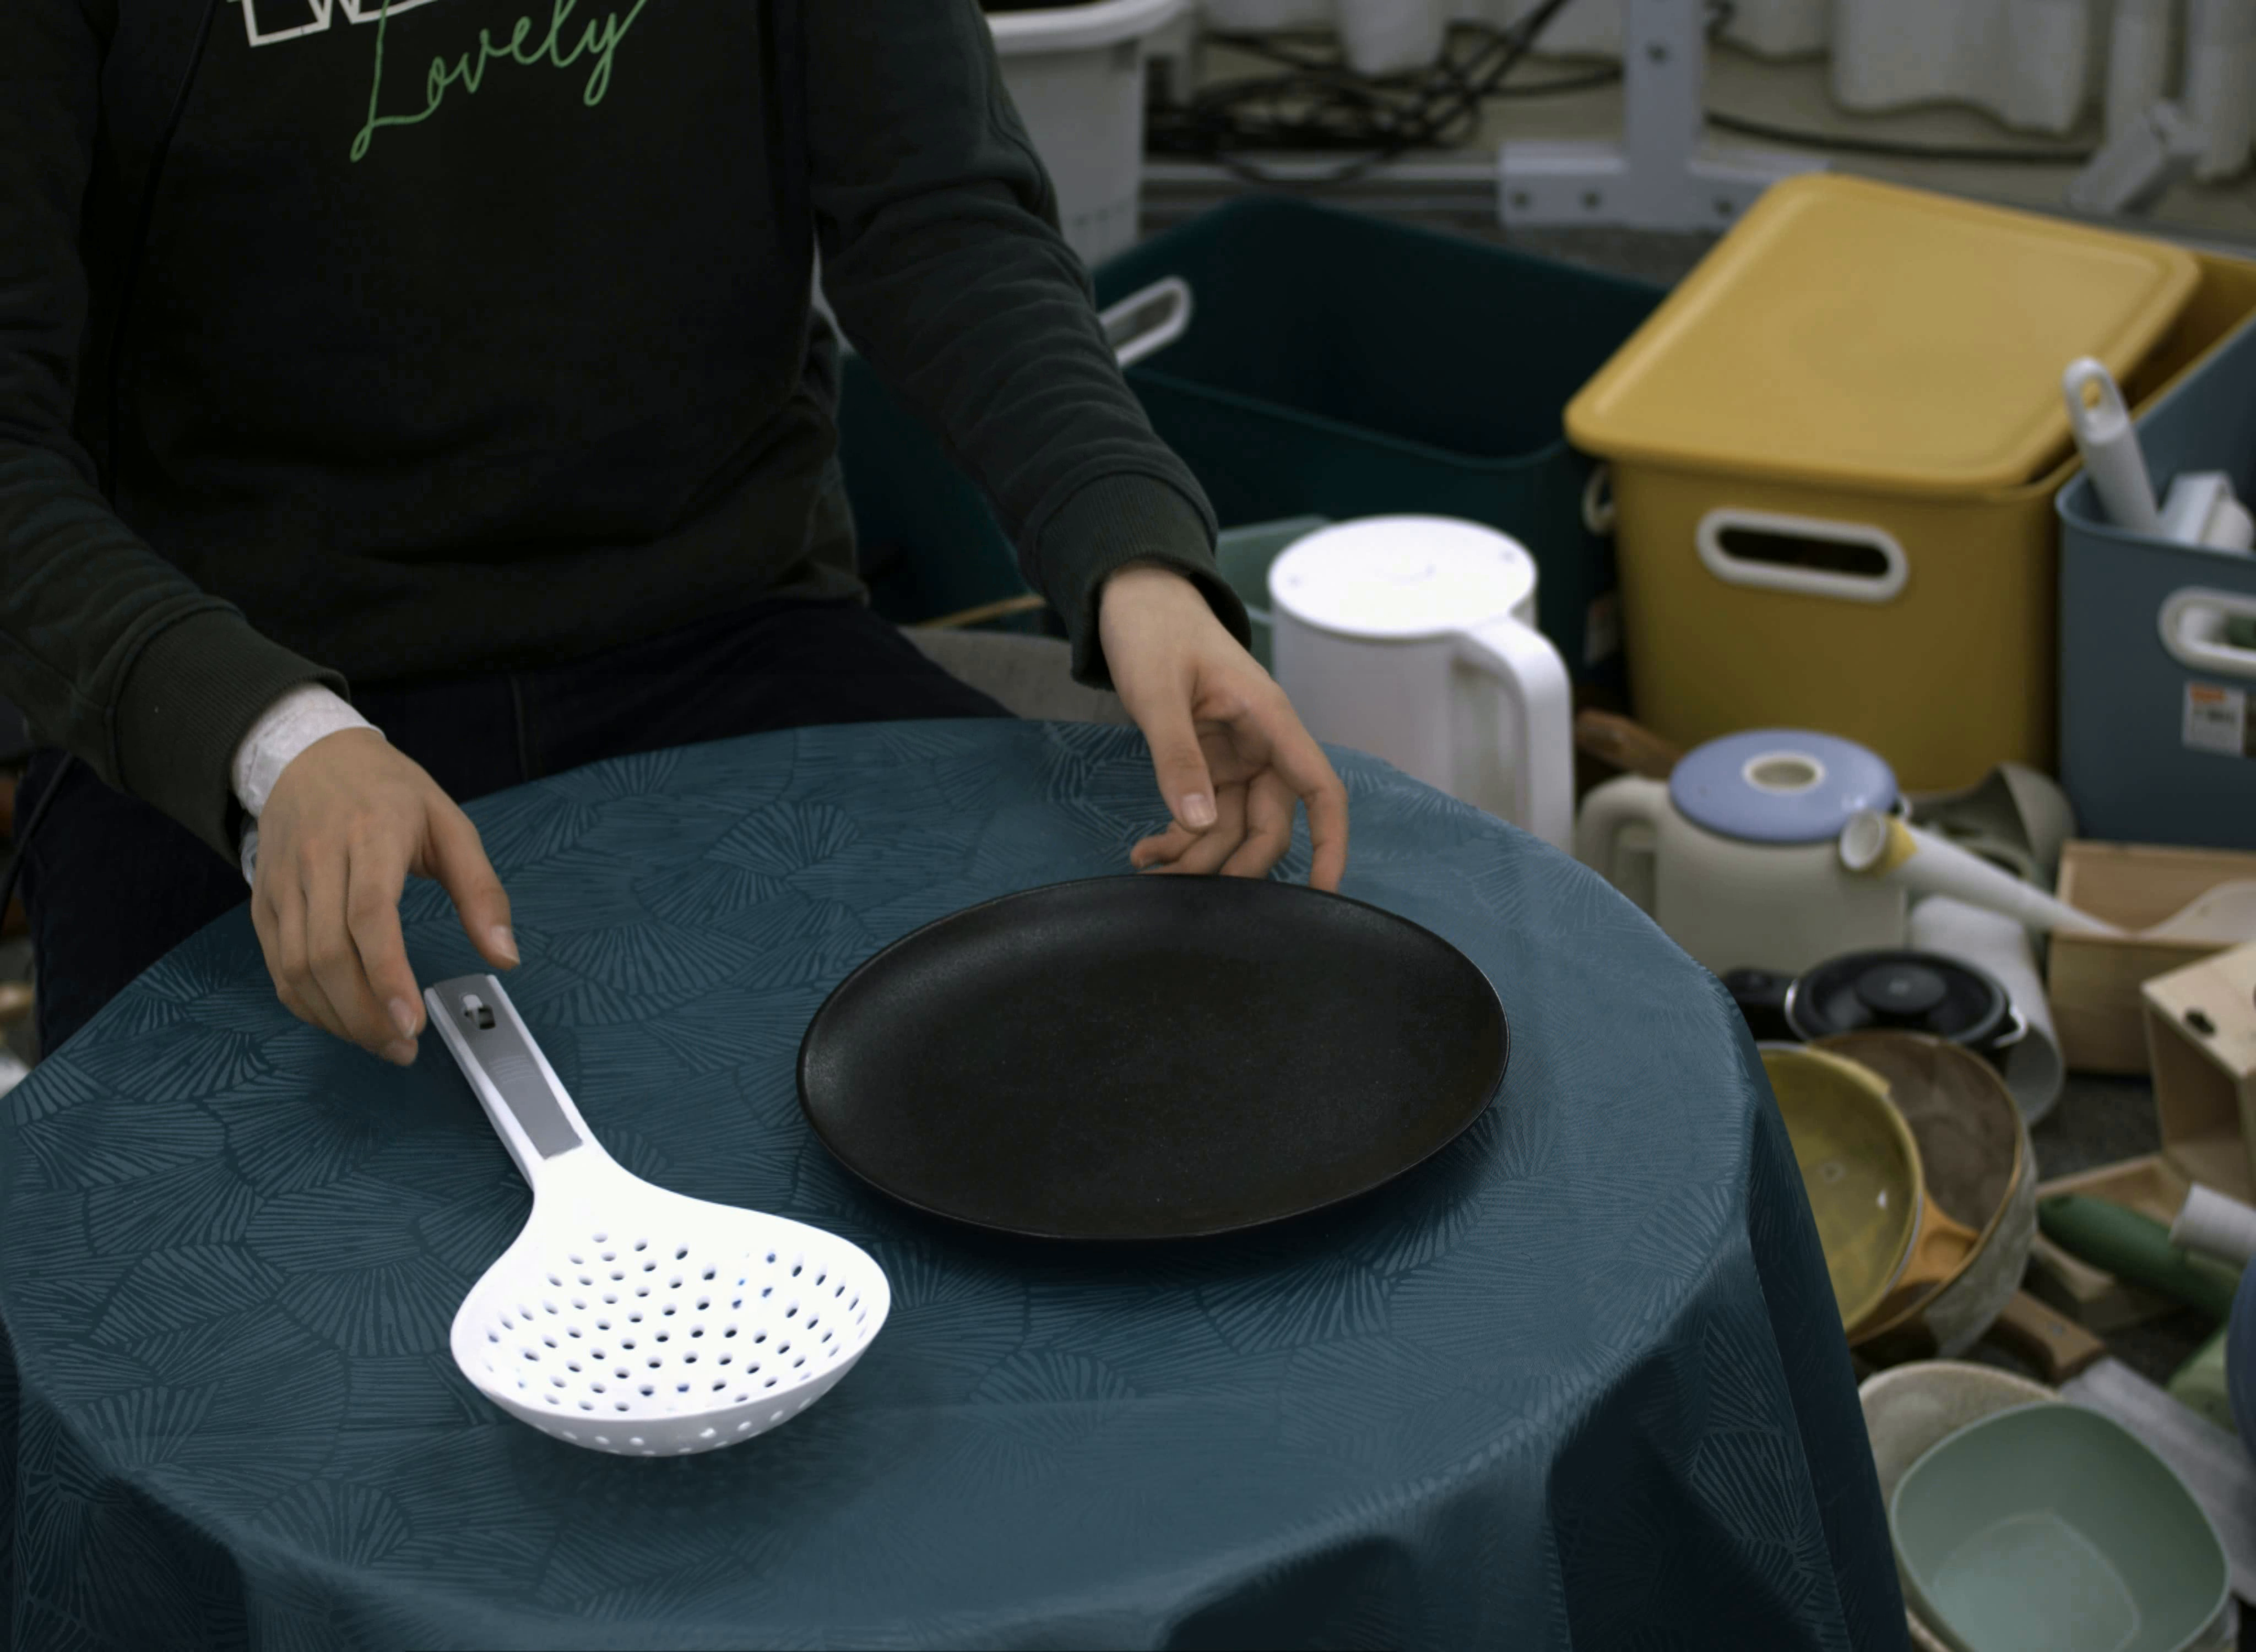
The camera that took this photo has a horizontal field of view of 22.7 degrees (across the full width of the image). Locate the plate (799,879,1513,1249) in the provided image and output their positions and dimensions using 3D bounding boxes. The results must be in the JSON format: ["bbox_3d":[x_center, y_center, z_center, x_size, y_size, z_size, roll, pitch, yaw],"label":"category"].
[{"bbox_3d":[0.010,0.084,1.908,0.243,0.023,0.248,-2,27,1],"label":"plate"}]

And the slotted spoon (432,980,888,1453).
[{"bbox_3d":[-0.177,0.121,1.831,0.136,0.045,0.352,-10,27,-17],"label":"slotted spoon"}]
